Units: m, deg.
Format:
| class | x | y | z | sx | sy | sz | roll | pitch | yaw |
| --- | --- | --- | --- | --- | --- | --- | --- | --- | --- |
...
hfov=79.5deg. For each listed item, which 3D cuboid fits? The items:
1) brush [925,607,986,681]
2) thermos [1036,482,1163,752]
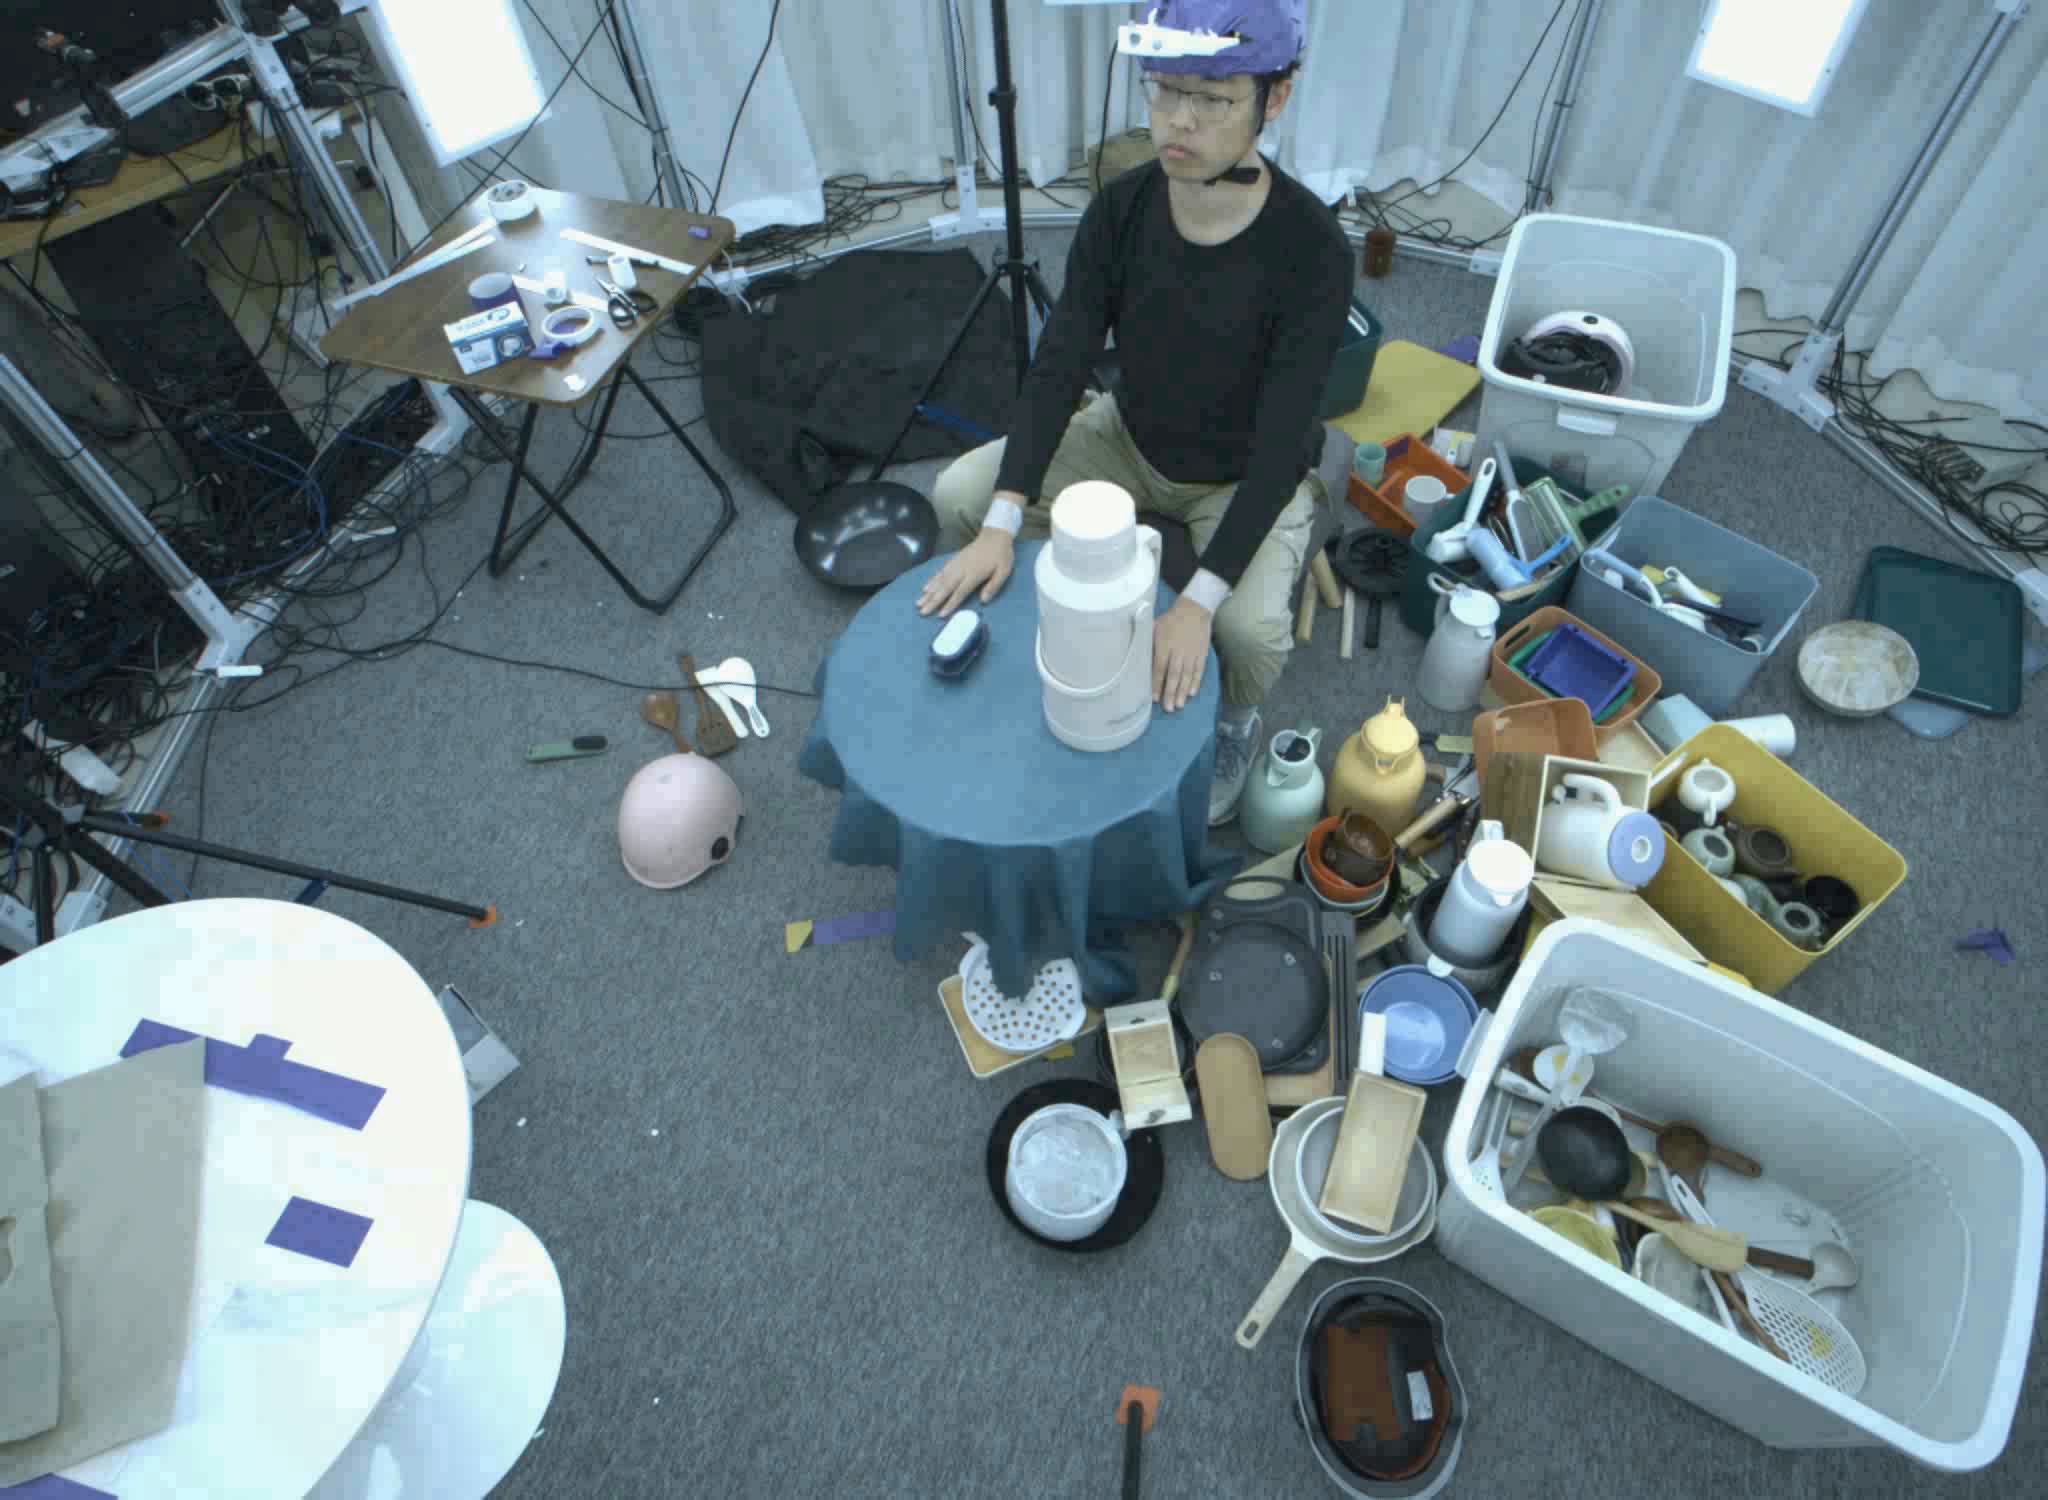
| class | x | y | z | sx | sy | sz | roll | pitch | yaw |
| --- | --- | --- | --- | --- | --- | --- | --- | --- | --- |
| brush | -0.104 | -0.161 | 1.871 | 0.067 | 0.062 | 0.122 | 26 | 60 | 17 |
| thermos | 0.110 | -0.184 | 1.670 | 0.172 | 0.411 | 0.208 | 37 | 65 | 27 |
